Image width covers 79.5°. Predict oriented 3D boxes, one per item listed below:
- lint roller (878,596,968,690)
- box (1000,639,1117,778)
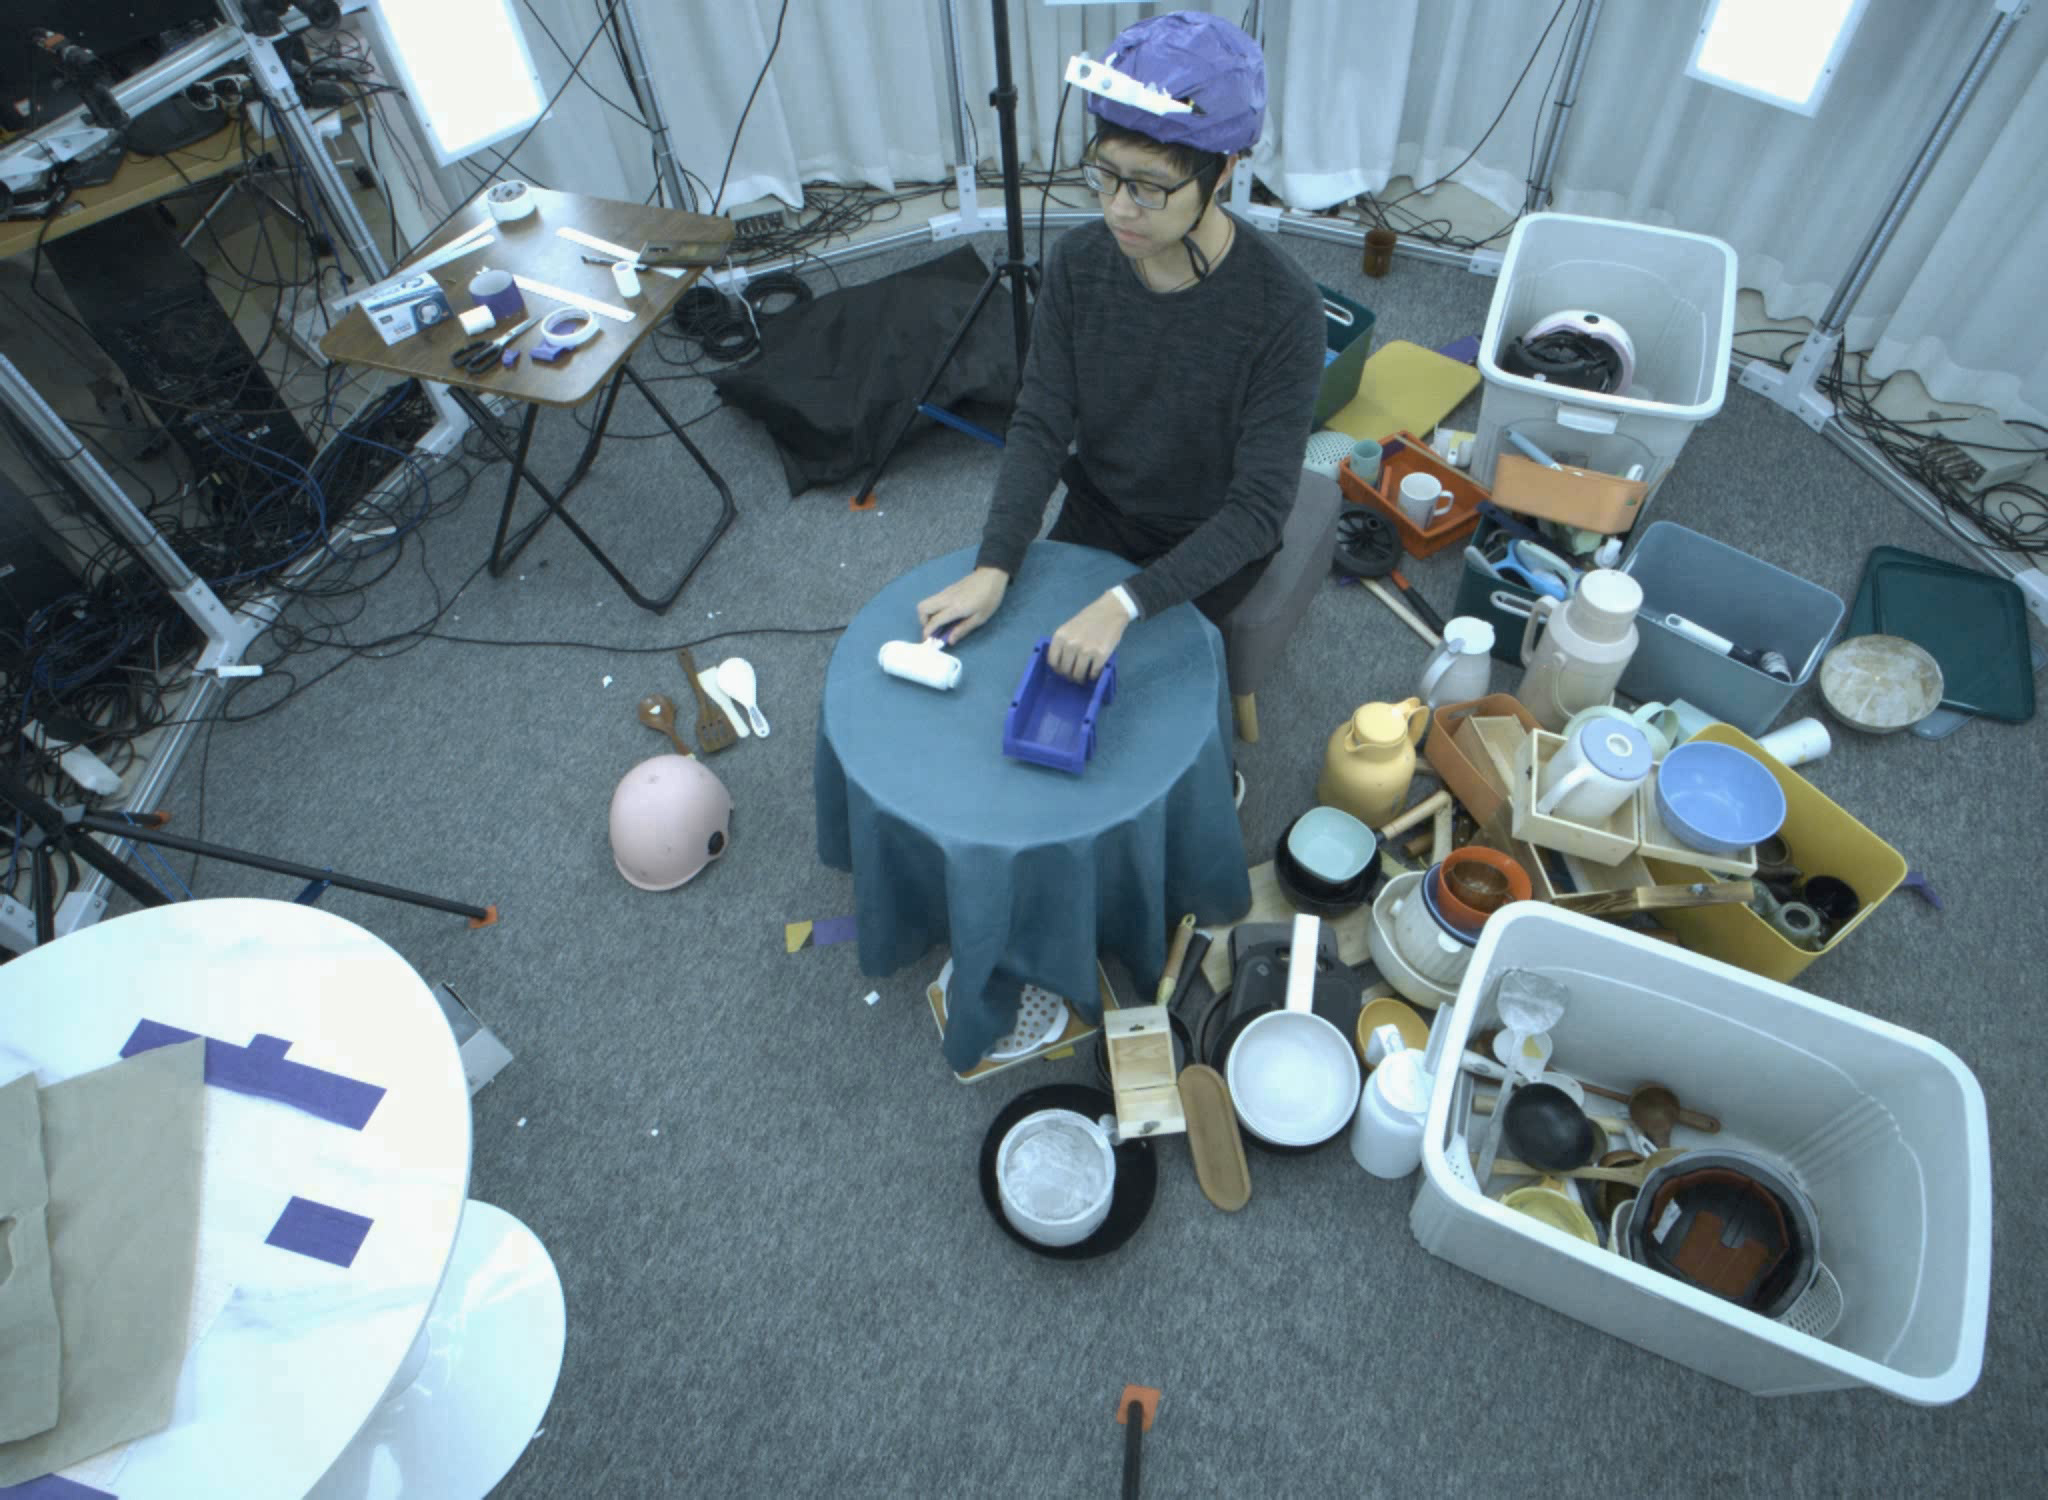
[{"bbox_3d":[-0.132,-0.178,1.884,0.131,0.051,0.181,19,63,16],"label":"lint roller"},{"bbox_3d":[0.053,-0.056,1.771,0.123,0.082,0.179,15,55,10],"label":"box"}]
